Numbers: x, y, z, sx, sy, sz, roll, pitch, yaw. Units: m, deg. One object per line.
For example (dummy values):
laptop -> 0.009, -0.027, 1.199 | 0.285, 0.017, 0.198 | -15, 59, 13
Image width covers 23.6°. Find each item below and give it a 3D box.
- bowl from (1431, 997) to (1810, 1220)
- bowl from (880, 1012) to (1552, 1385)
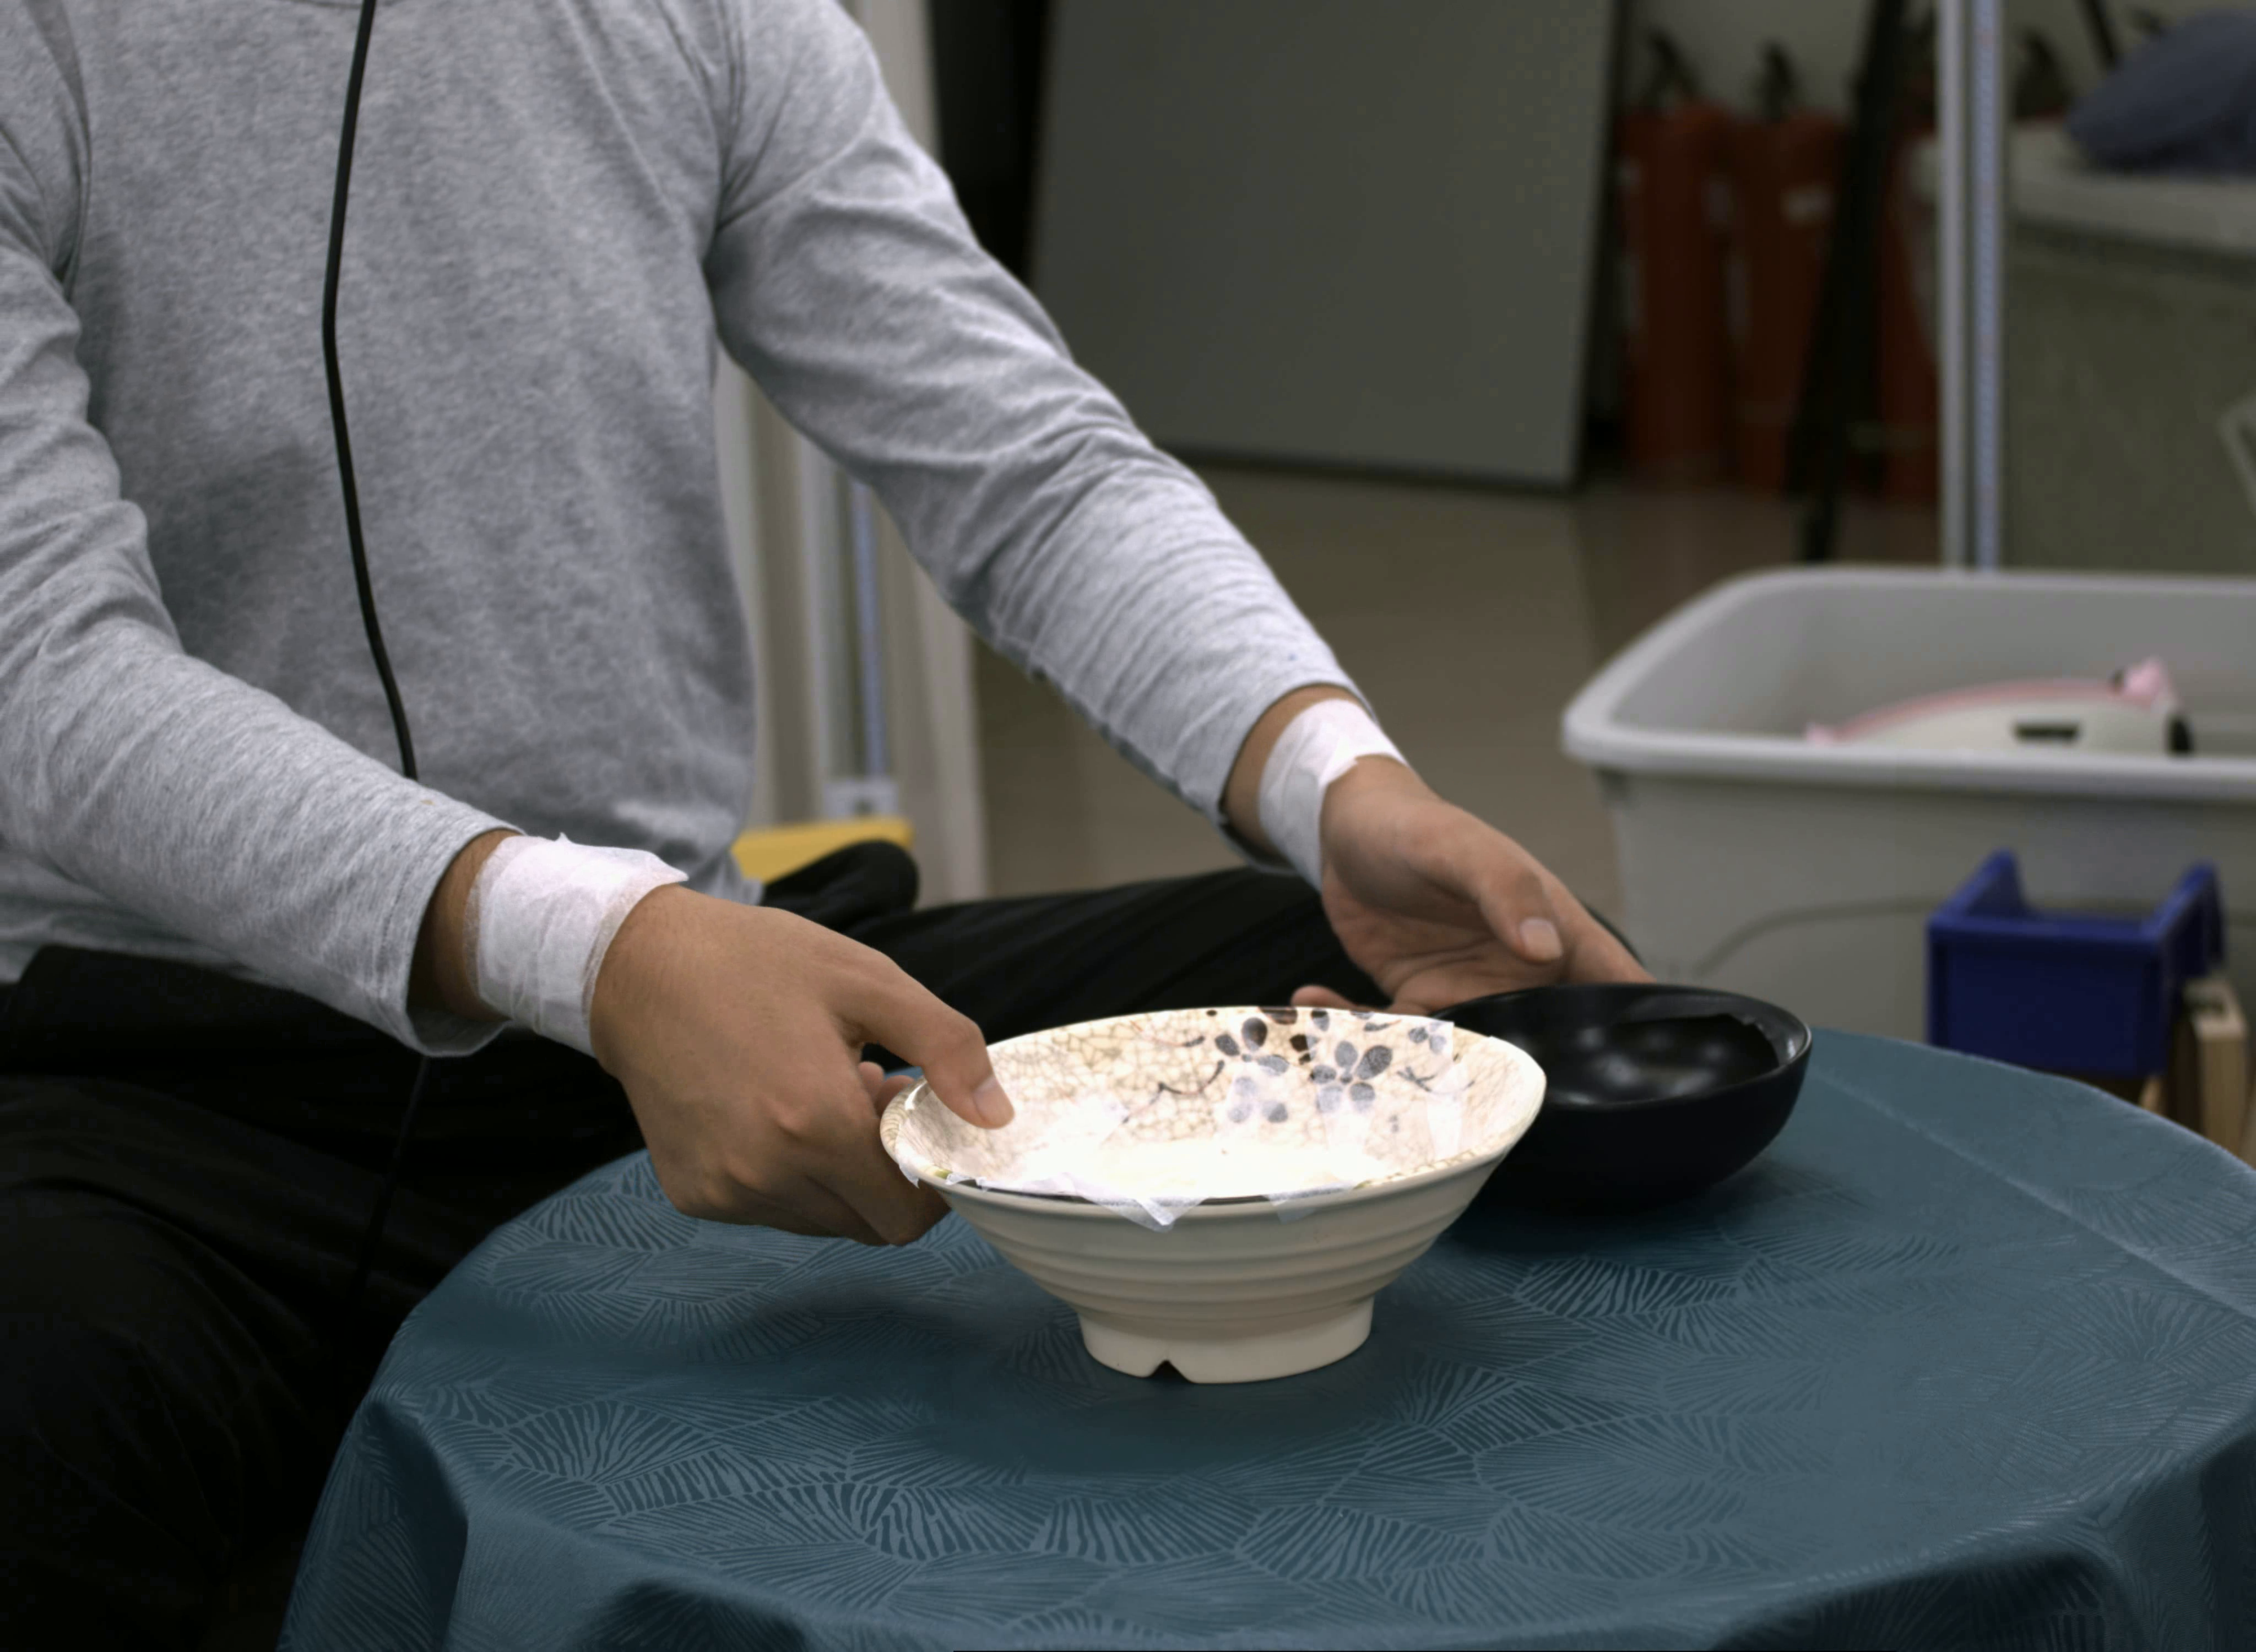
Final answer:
bowl -> 0.153, 0.095, 1.742 | 0.138, 0.050, 0.140 | -5, 10, 0
bowl -> 0.028, 0.117, 1.617 | 0.201, 0.079, 0.204 | -4, 12, 0
